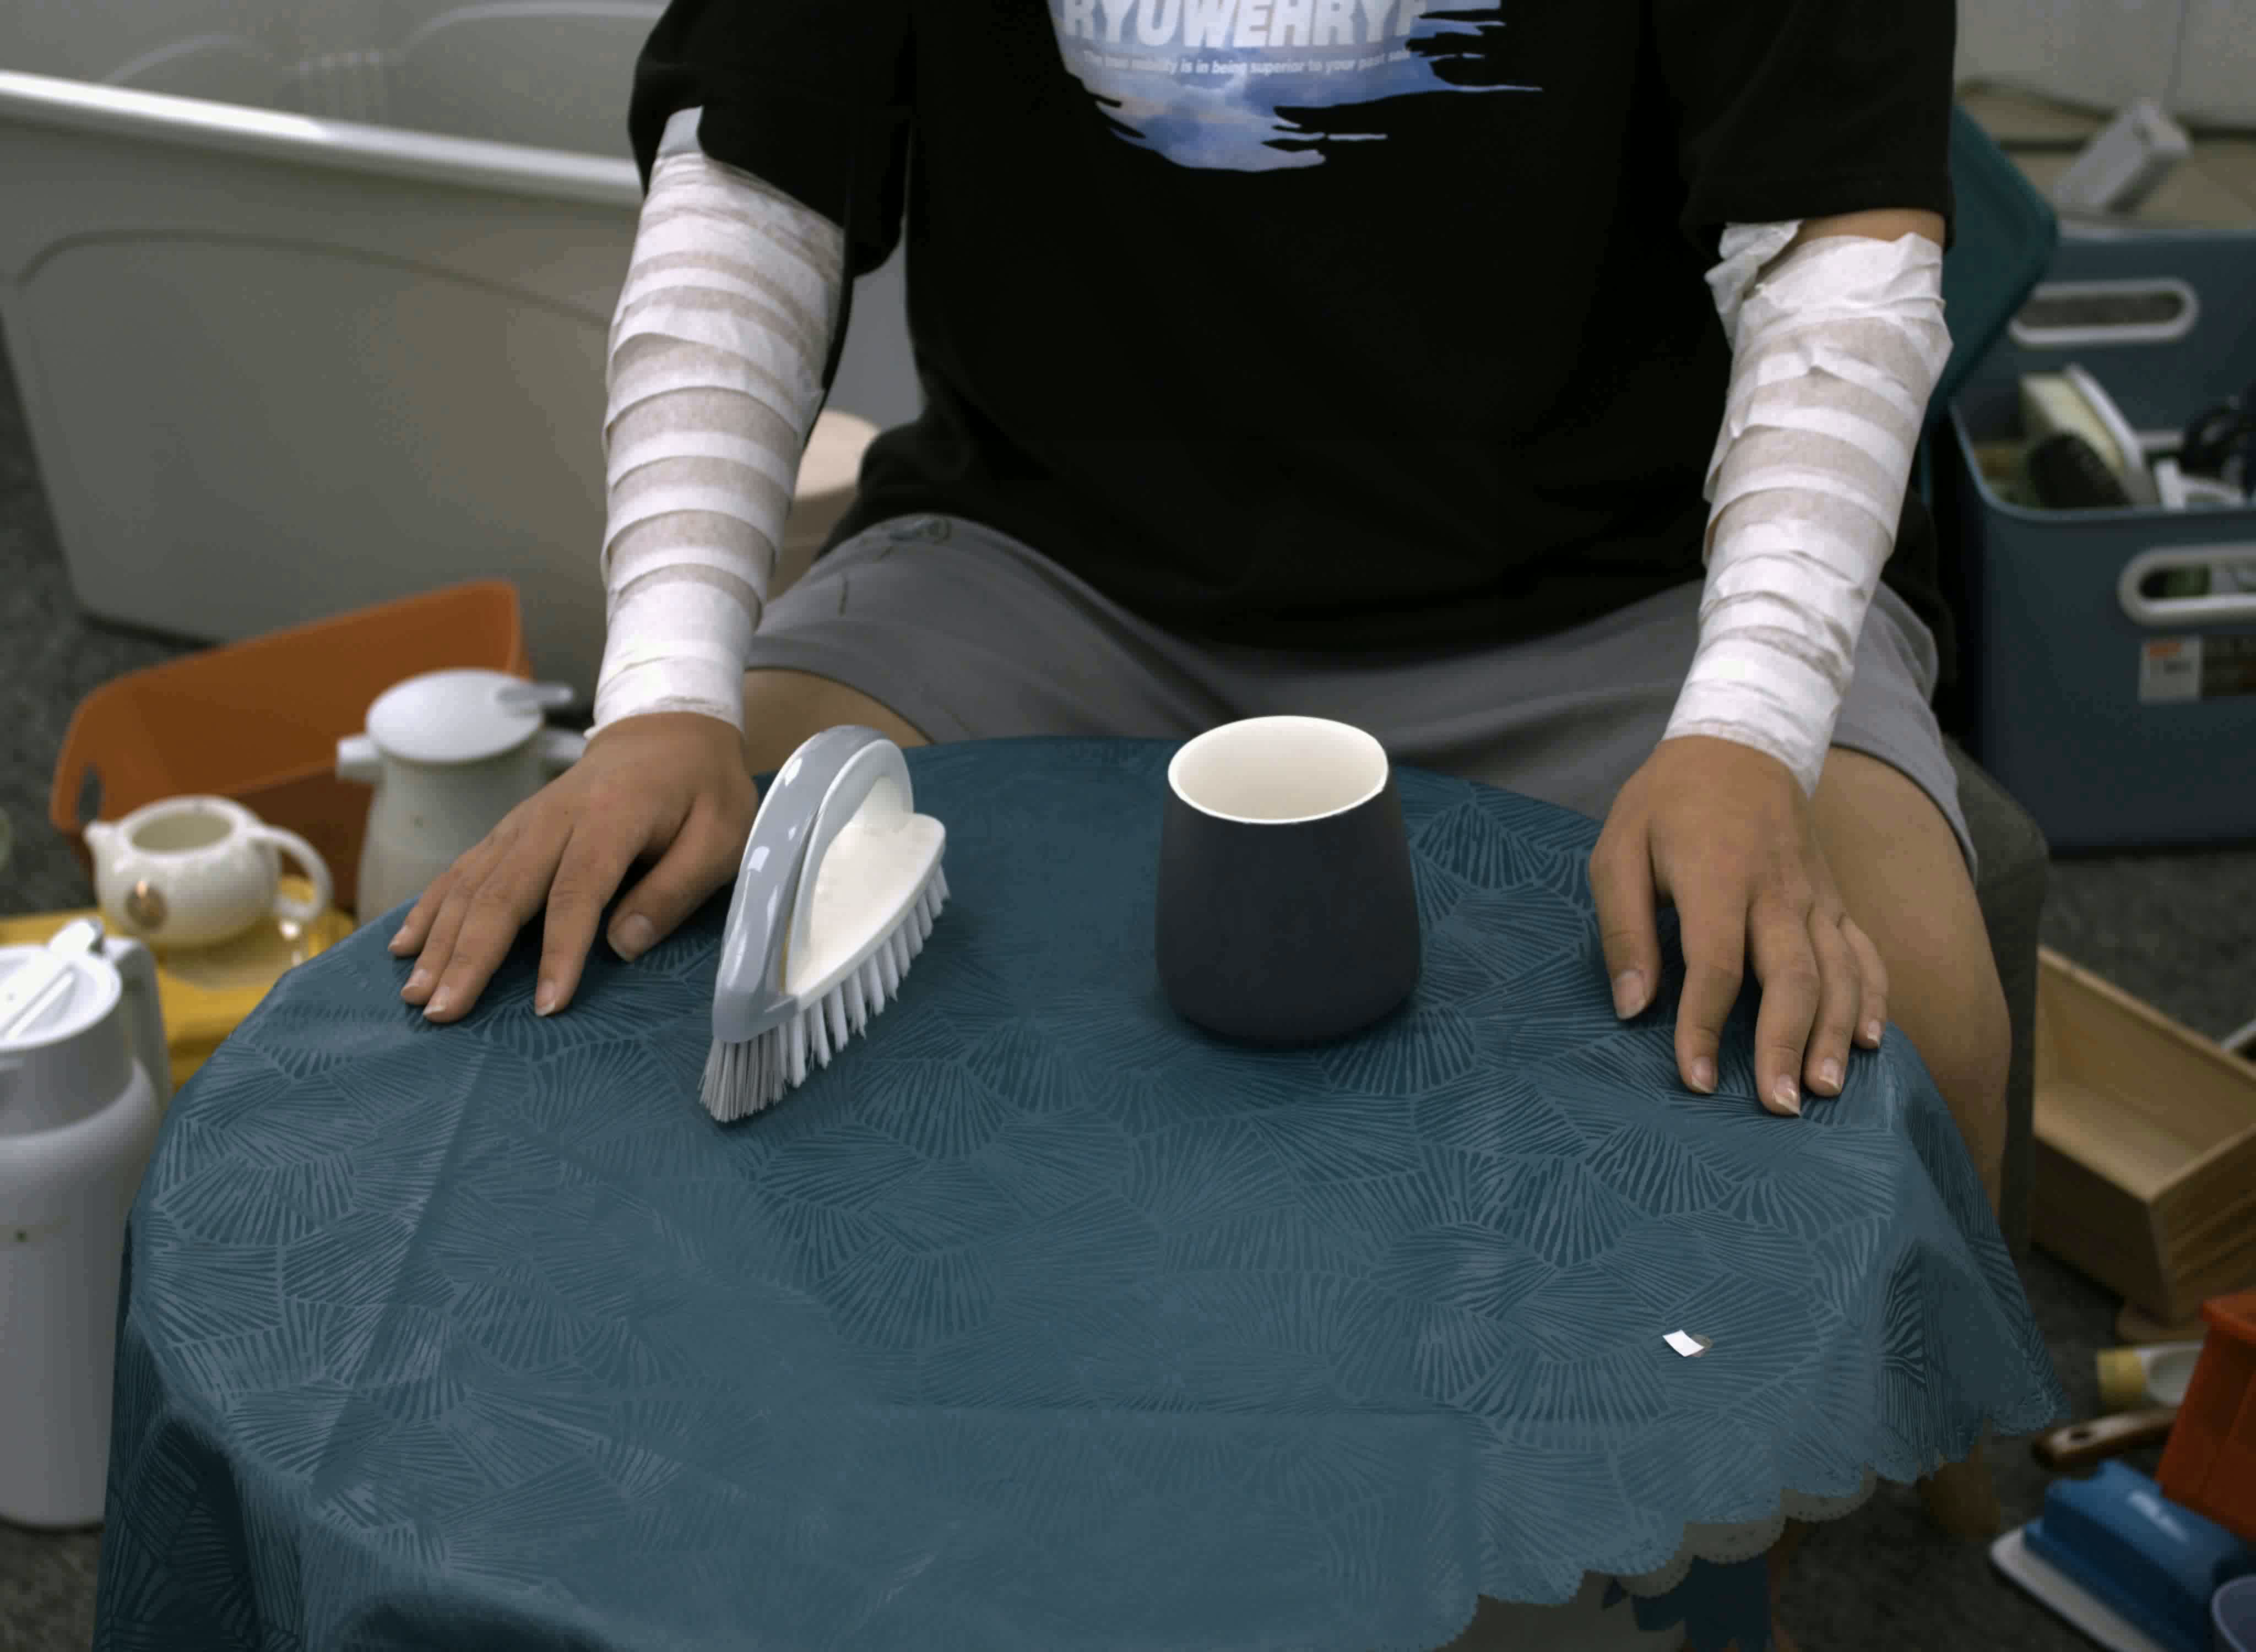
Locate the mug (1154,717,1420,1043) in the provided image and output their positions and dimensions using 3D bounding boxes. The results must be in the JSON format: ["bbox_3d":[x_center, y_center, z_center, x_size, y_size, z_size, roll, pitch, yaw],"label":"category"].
[{"bbox_3d":[0.054,0.012,1.971,0.093,0.089,0.125,-3,27,-1],"label":"mug"}]

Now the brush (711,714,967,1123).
[{"bbox_3d":[-0.110,0.025,1.963,0.061,0.093,0.178,4,29,18],"label":"brush"}]
